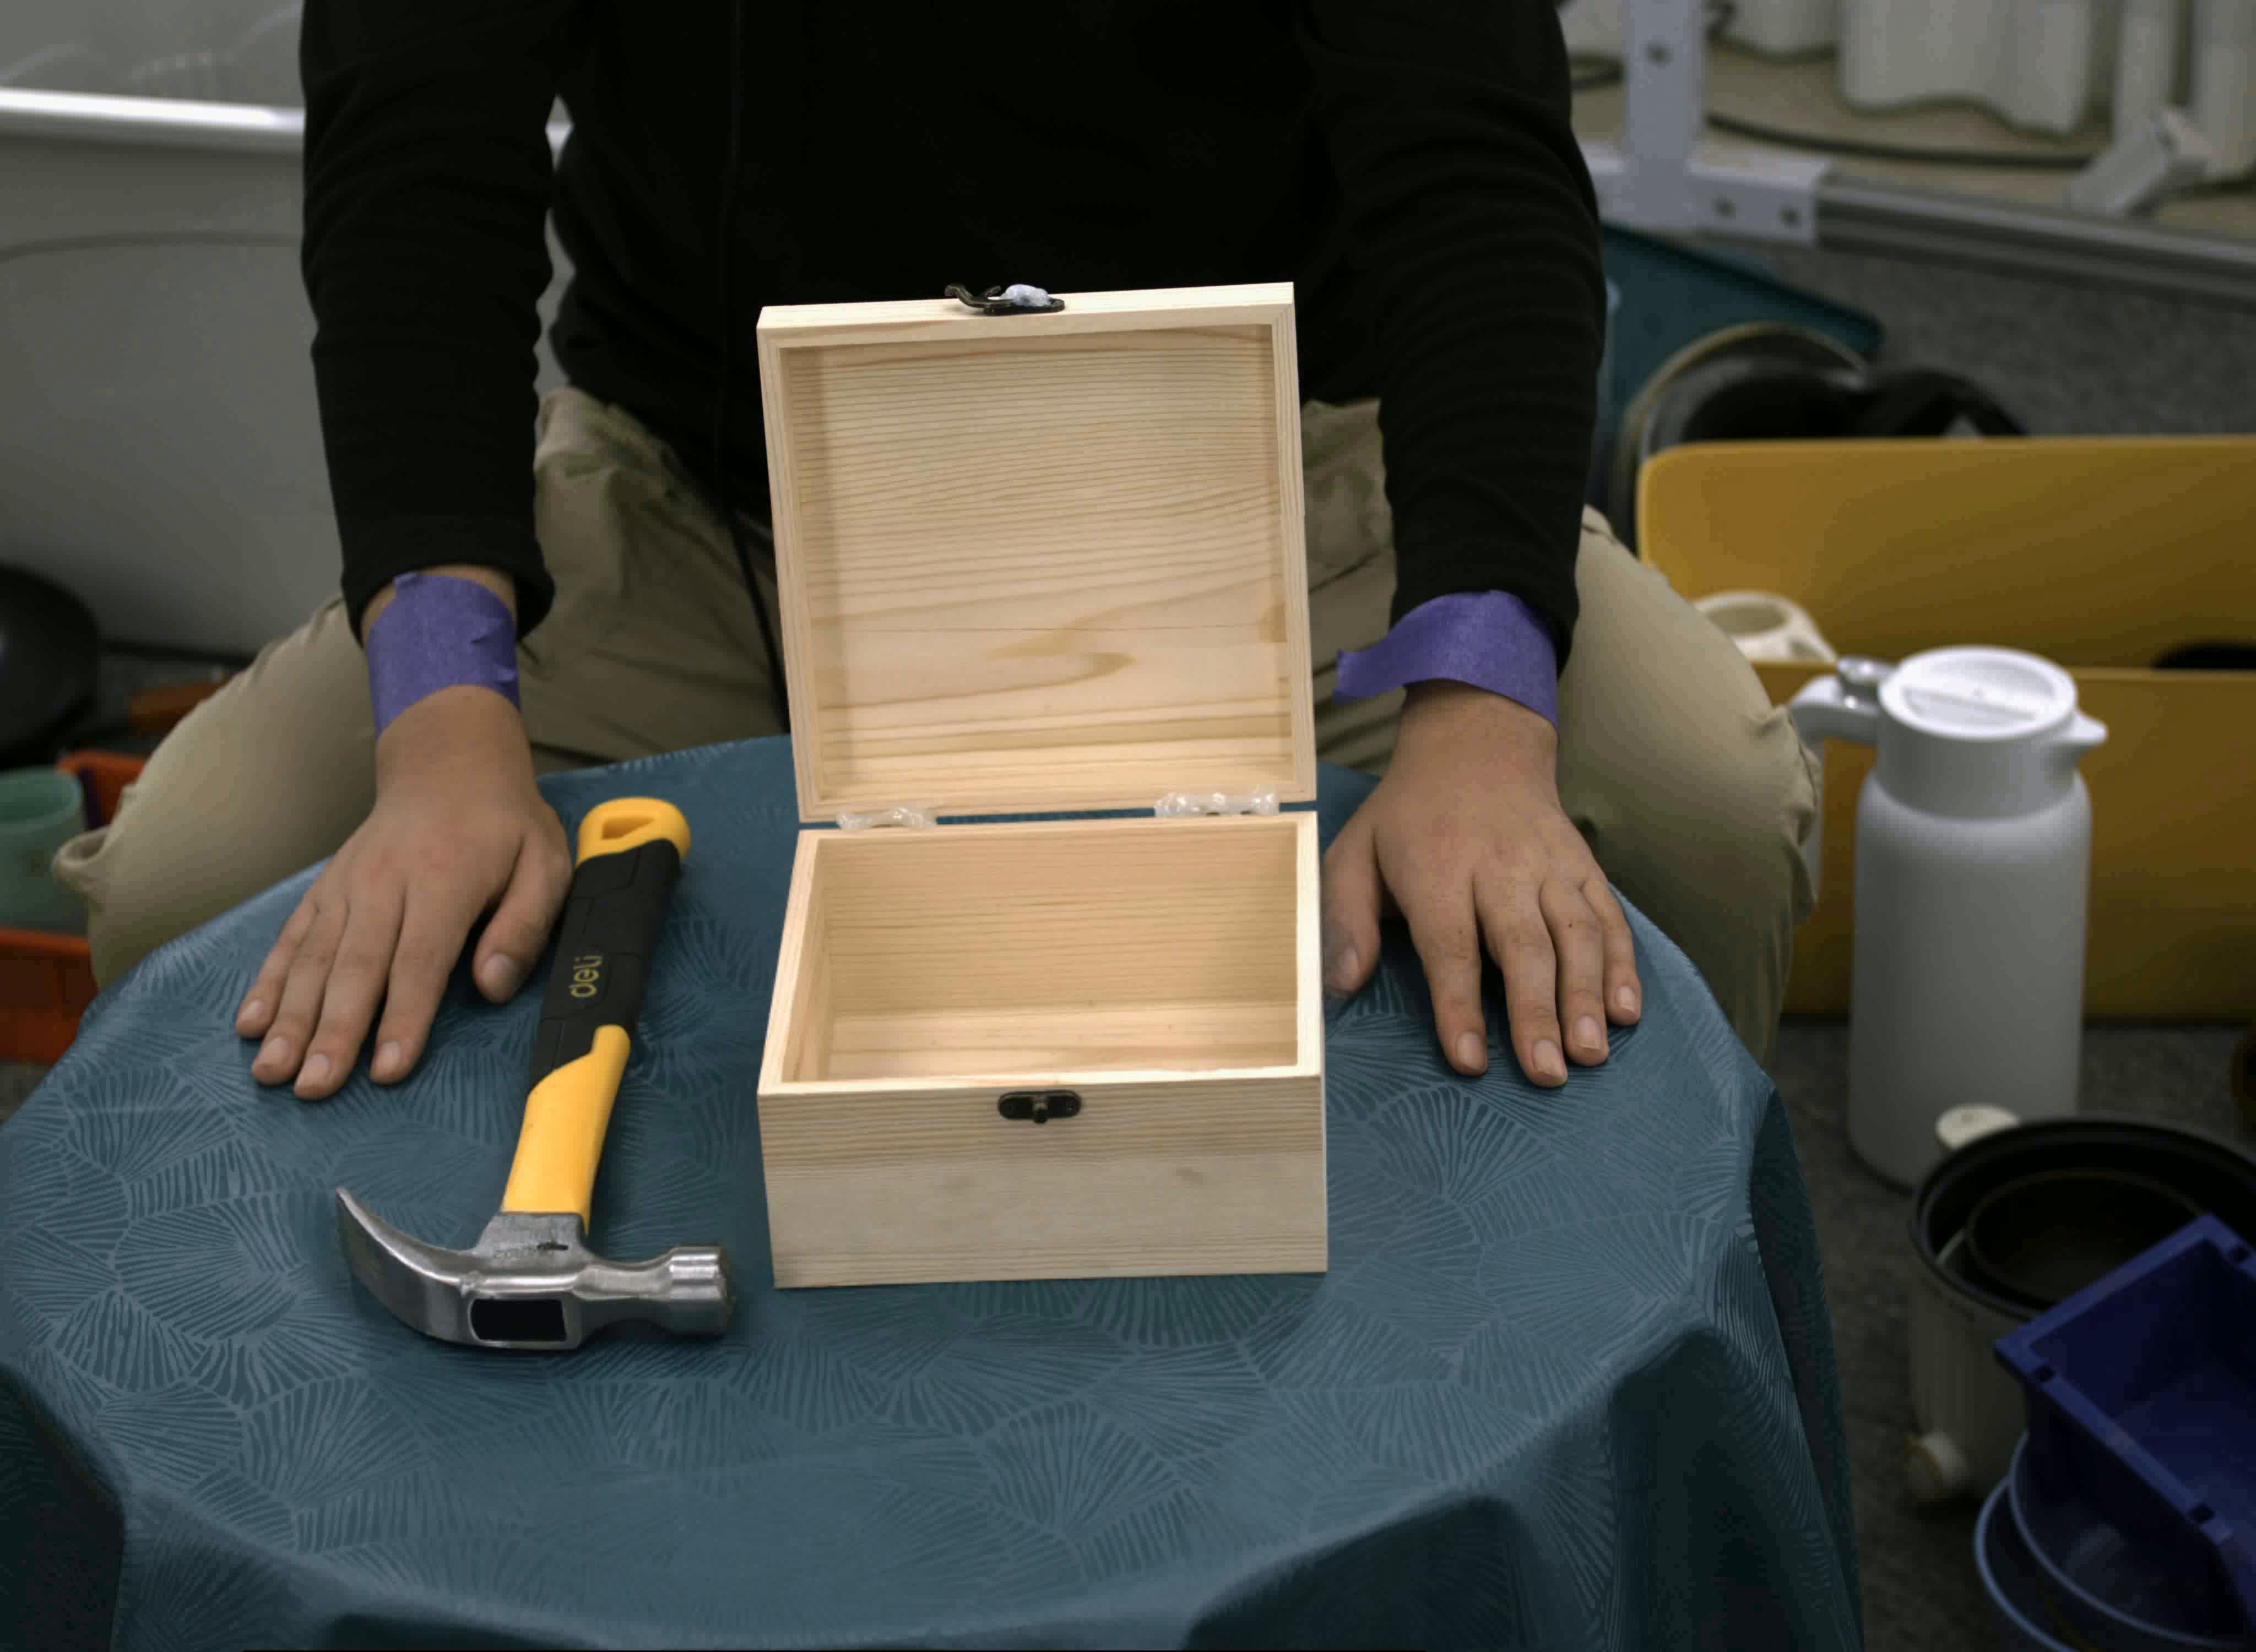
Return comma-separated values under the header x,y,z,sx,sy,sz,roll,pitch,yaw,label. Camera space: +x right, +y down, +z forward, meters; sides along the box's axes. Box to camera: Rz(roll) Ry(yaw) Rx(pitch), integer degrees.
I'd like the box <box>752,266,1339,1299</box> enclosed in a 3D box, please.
x,y,z,sx,sy,sz,roll,pitch,yaw,label
-0.029,-0.020,1.868,0.181,0.250,0.269,-4,27,2,box

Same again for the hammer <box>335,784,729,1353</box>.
x,y,z,sx,sy,sz,roll,pitch,yaw,label
-0.188,0.075,1.926,0.131,0.032,0.344,-1,28,3,hammer
